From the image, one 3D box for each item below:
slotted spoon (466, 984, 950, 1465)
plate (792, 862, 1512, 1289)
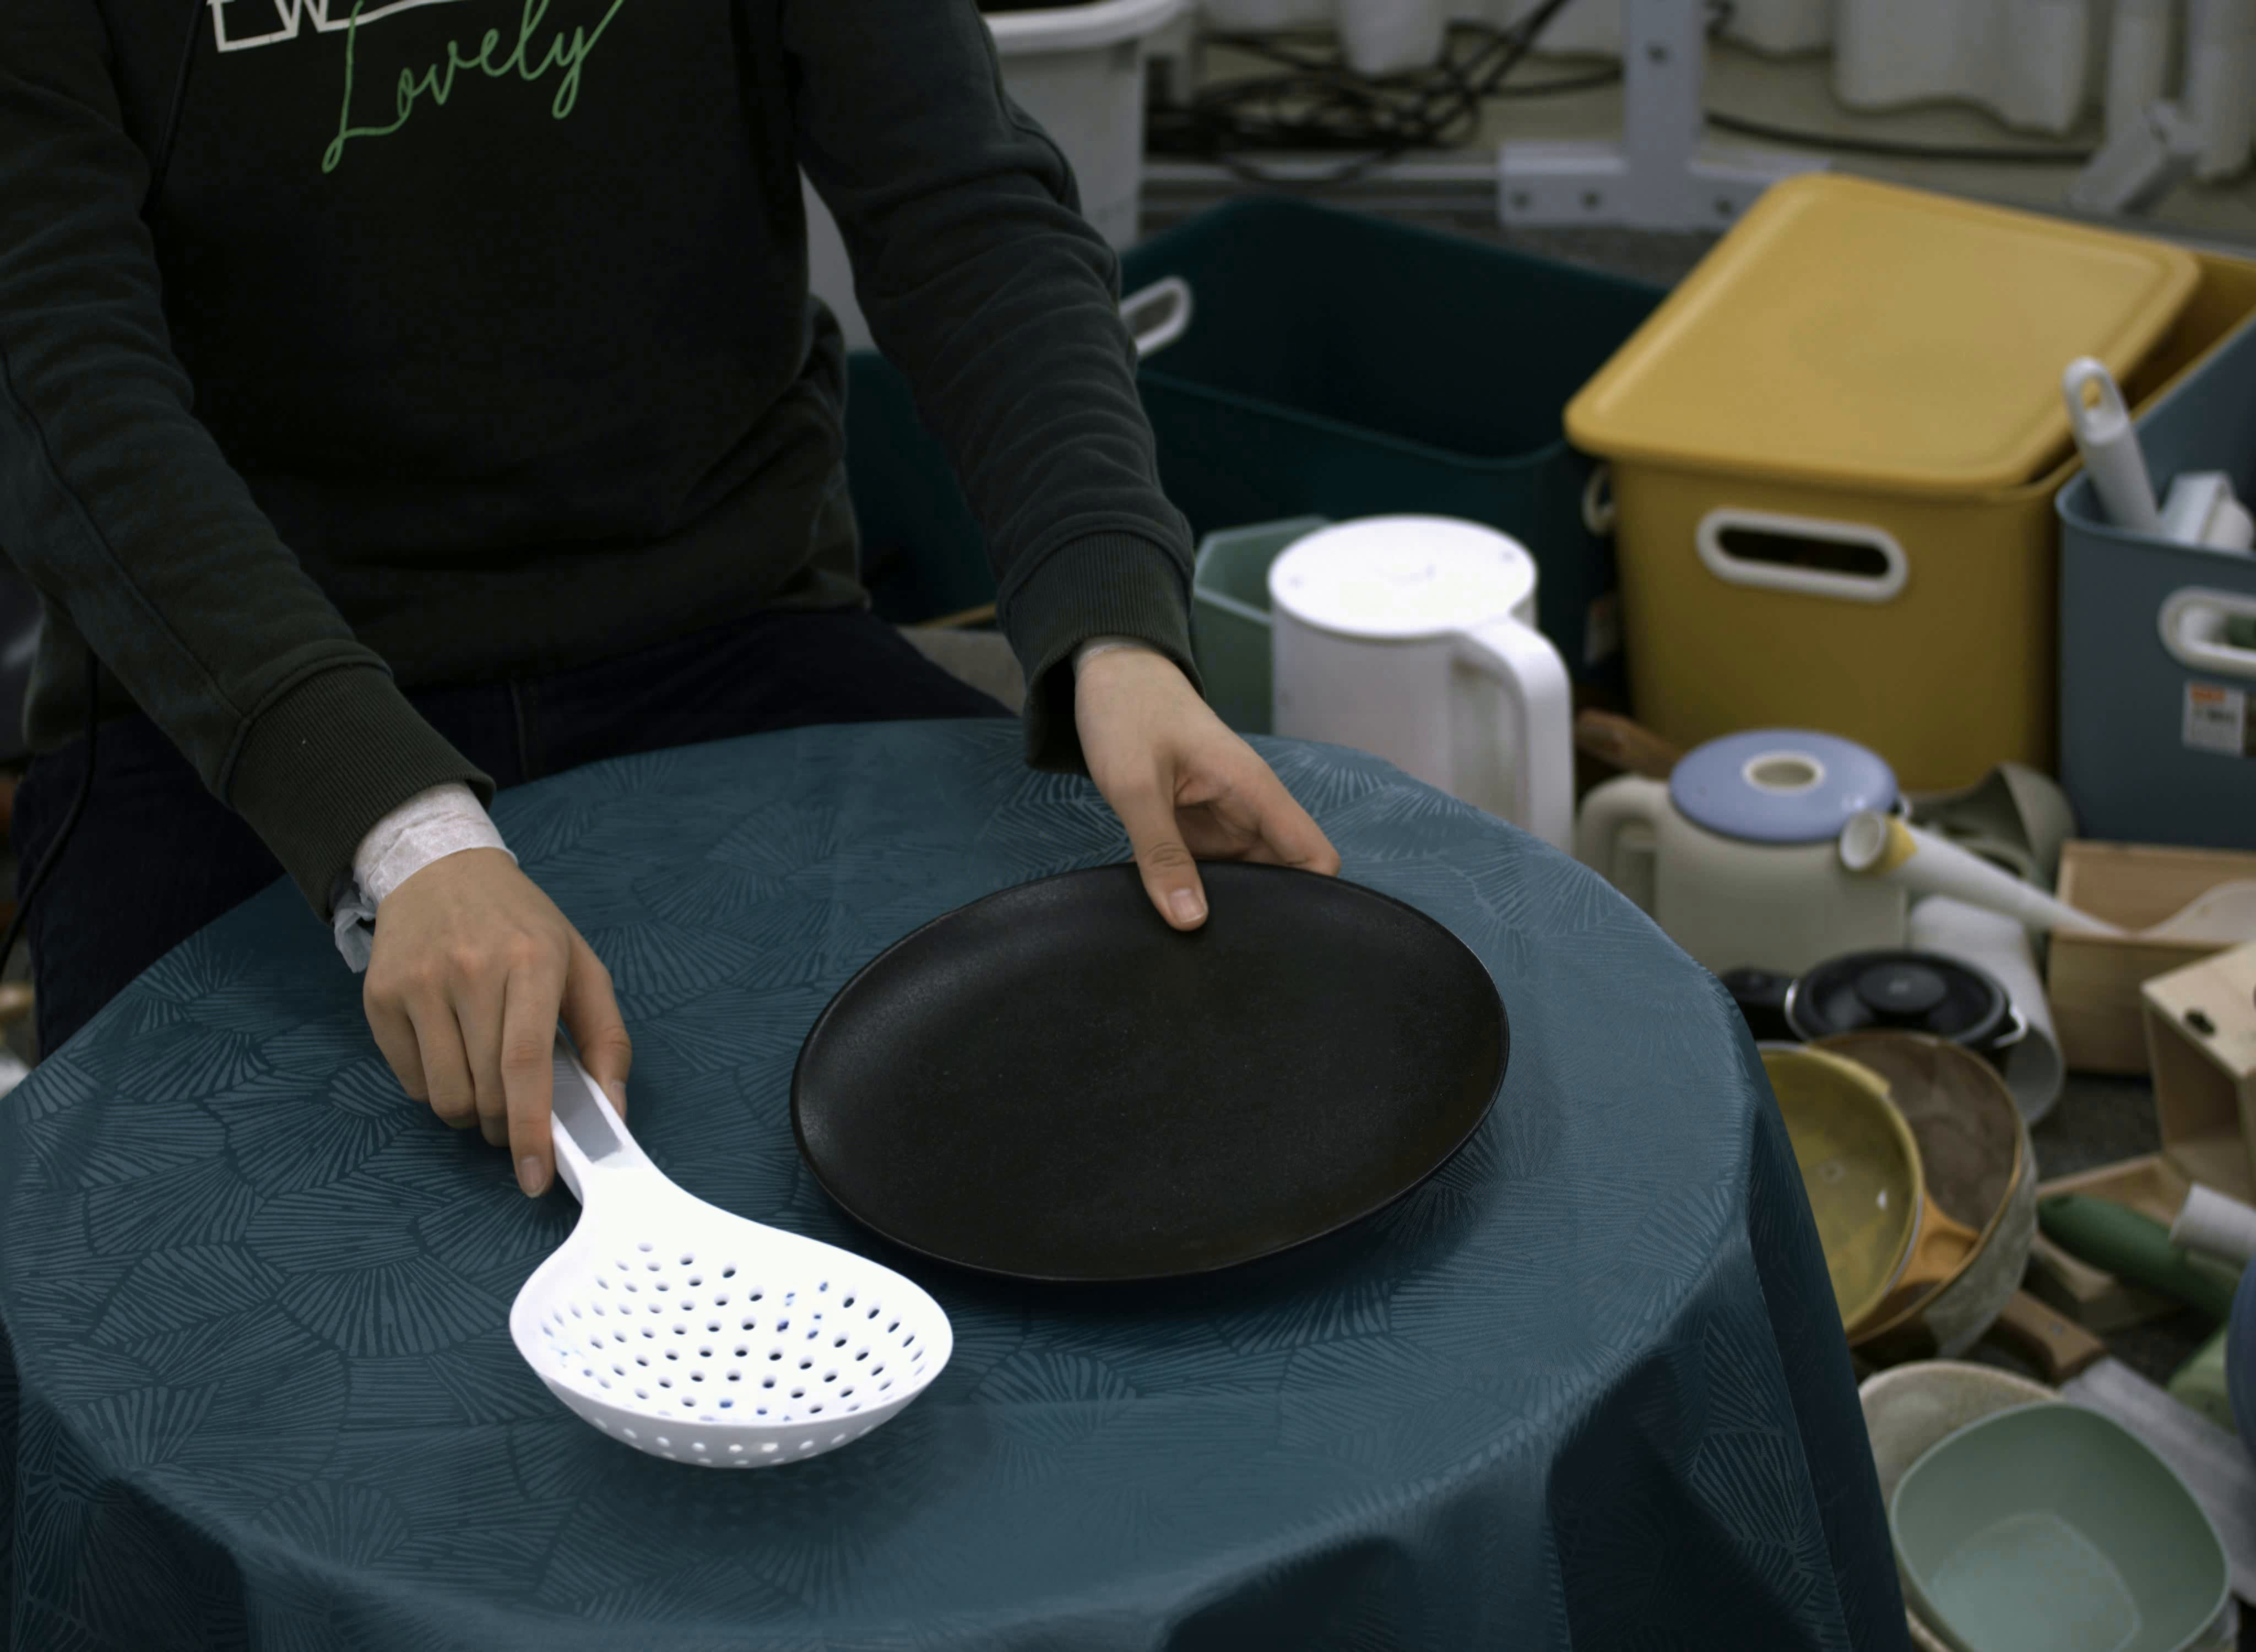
[{"bbox_3d":[-0.161,0.123,1.821,0.136,0.045,0.352,-2,25,-21],"label":"slotted spoon"},{"bbox_3d":[0.009,0.086,1.886,0.243,0.023,0.248,-5,32,3],"label":"plate"}]
